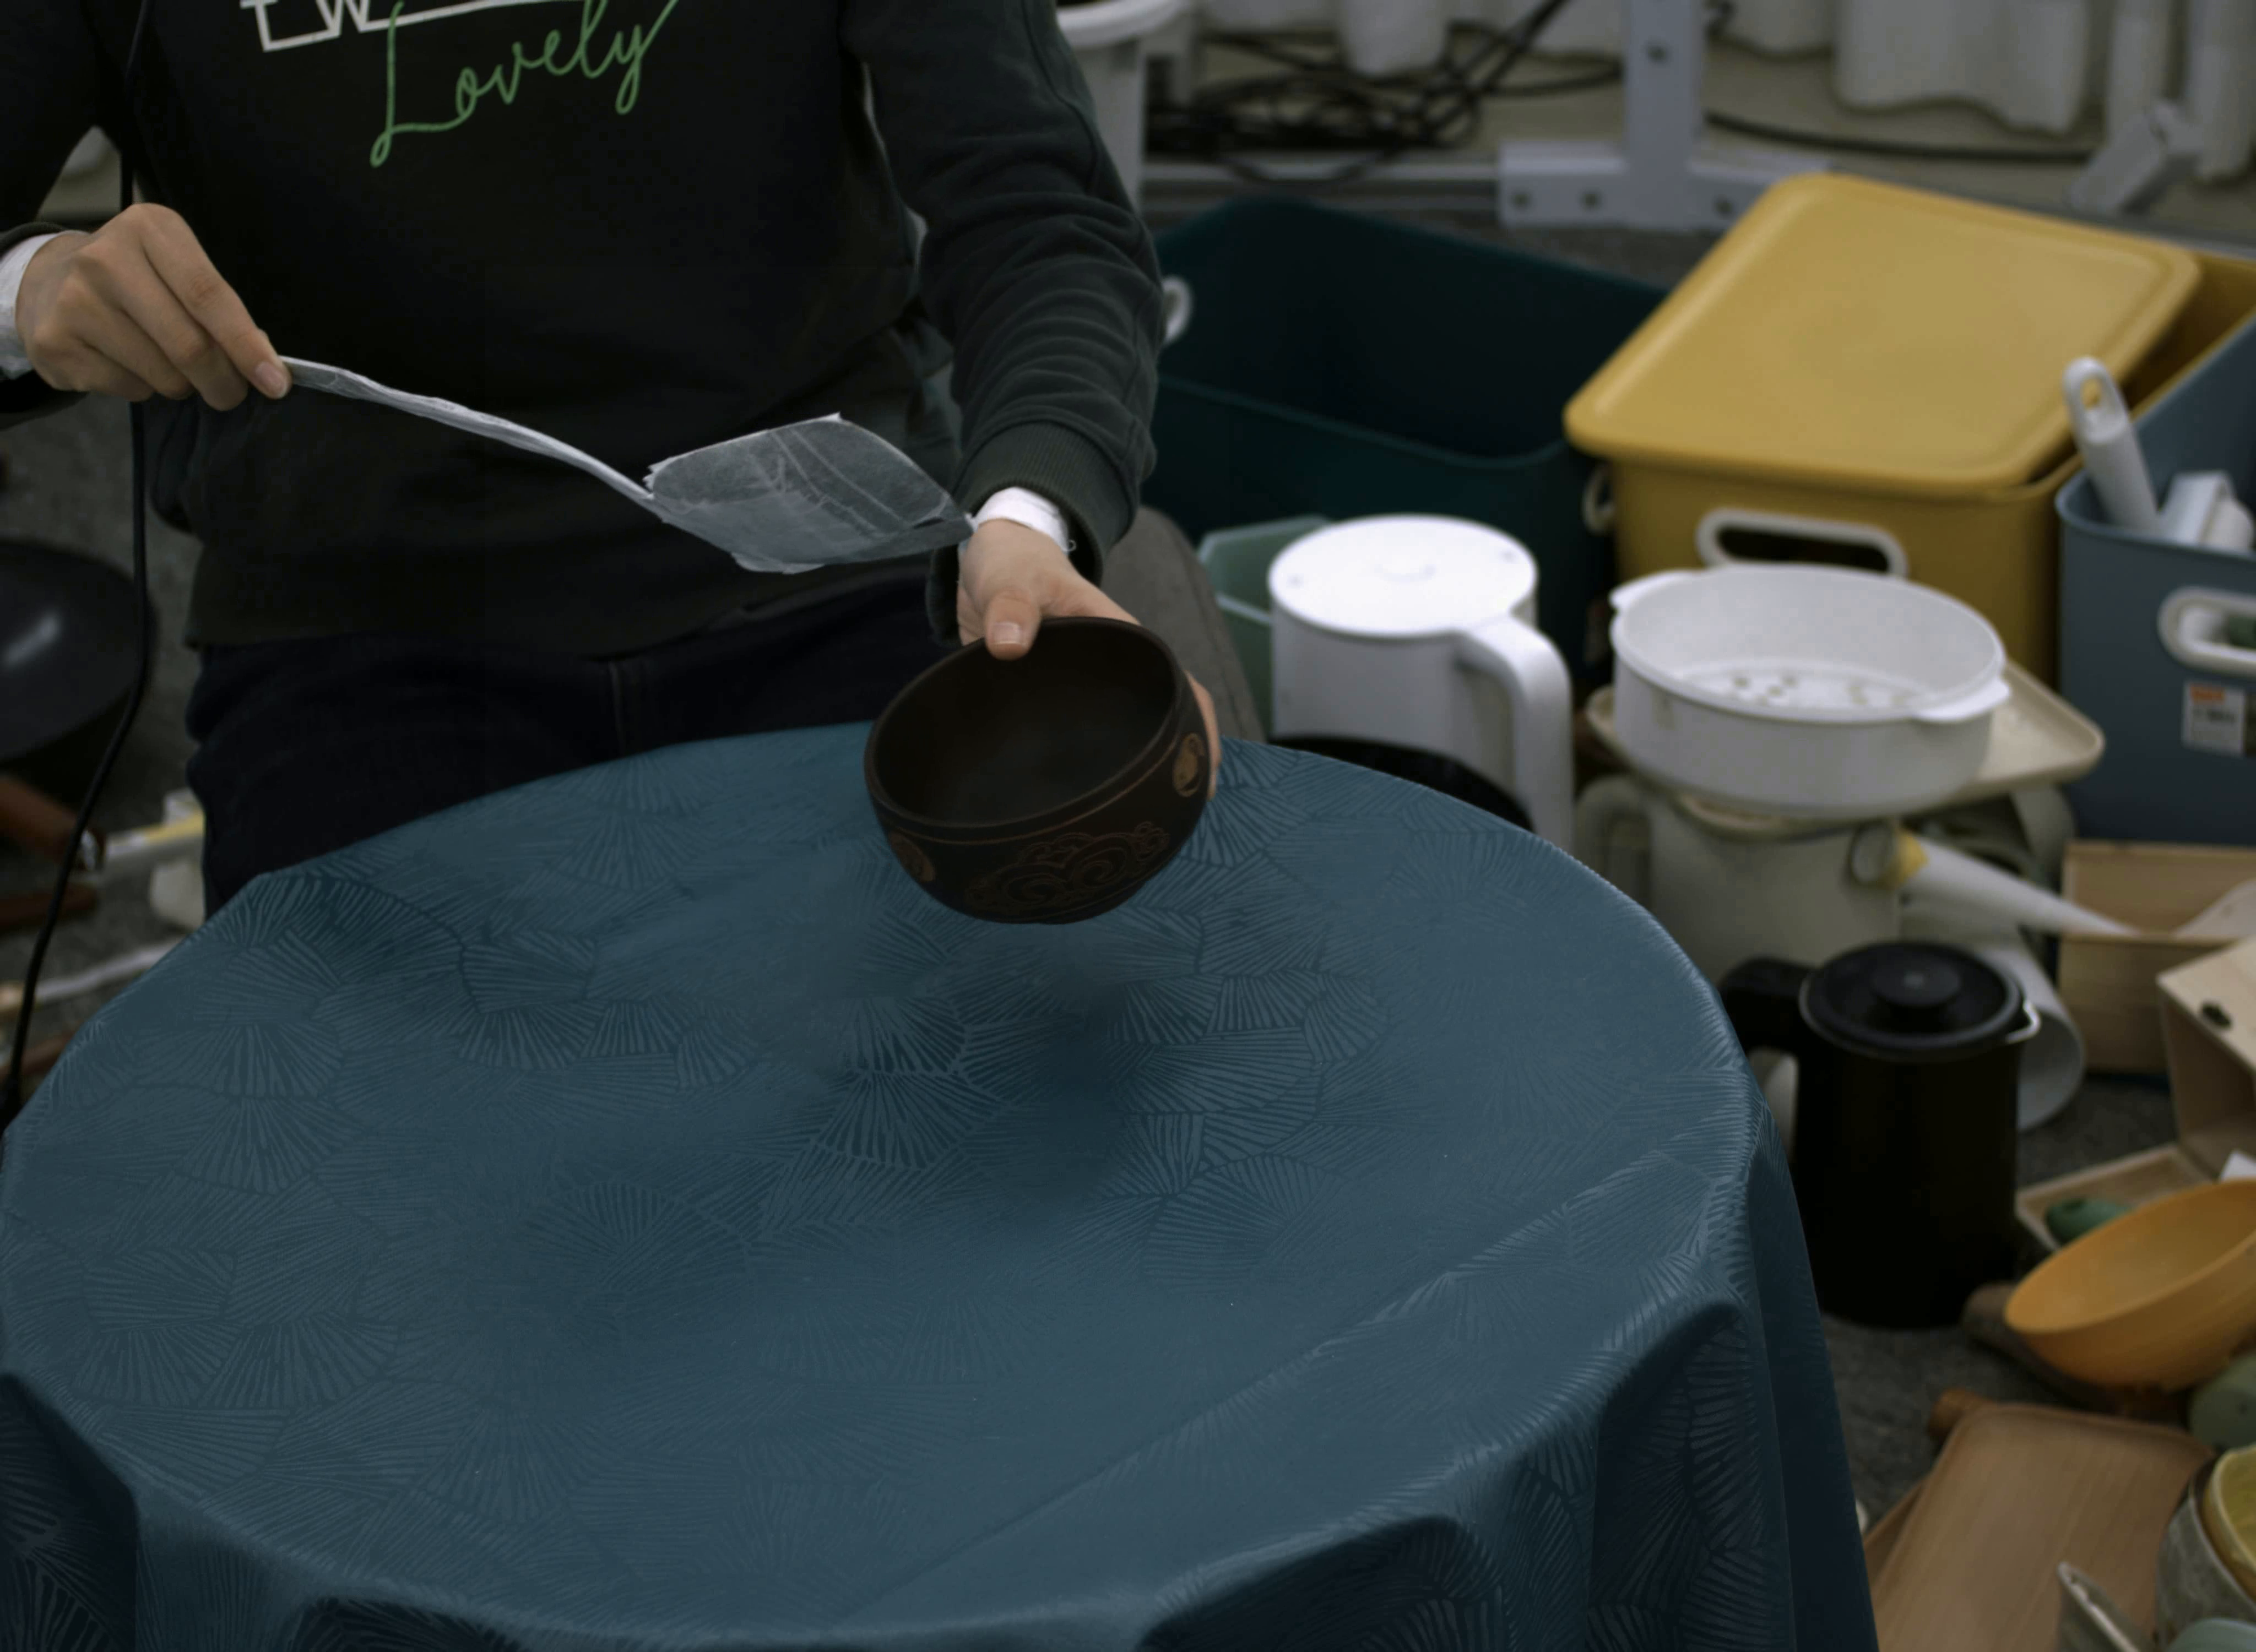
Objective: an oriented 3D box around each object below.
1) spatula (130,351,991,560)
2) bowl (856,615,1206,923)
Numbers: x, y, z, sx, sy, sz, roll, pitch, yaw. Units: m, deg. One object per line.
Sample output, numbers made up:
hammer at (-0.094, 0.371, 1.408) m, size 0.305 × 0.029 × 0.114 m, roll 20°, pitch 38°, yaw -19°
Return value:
spatula at (-0.211, -0.139, 1.936) m, size 0.363 × 0.045 × 0.098 m, roll 16°, pitch -13°, yaw 33°
bowl at (-0.028, -0.011, 1.919) m, size 0.117 × 0.069 × 0.120 m, roll -13°, pitch 34°, yaw 9°
